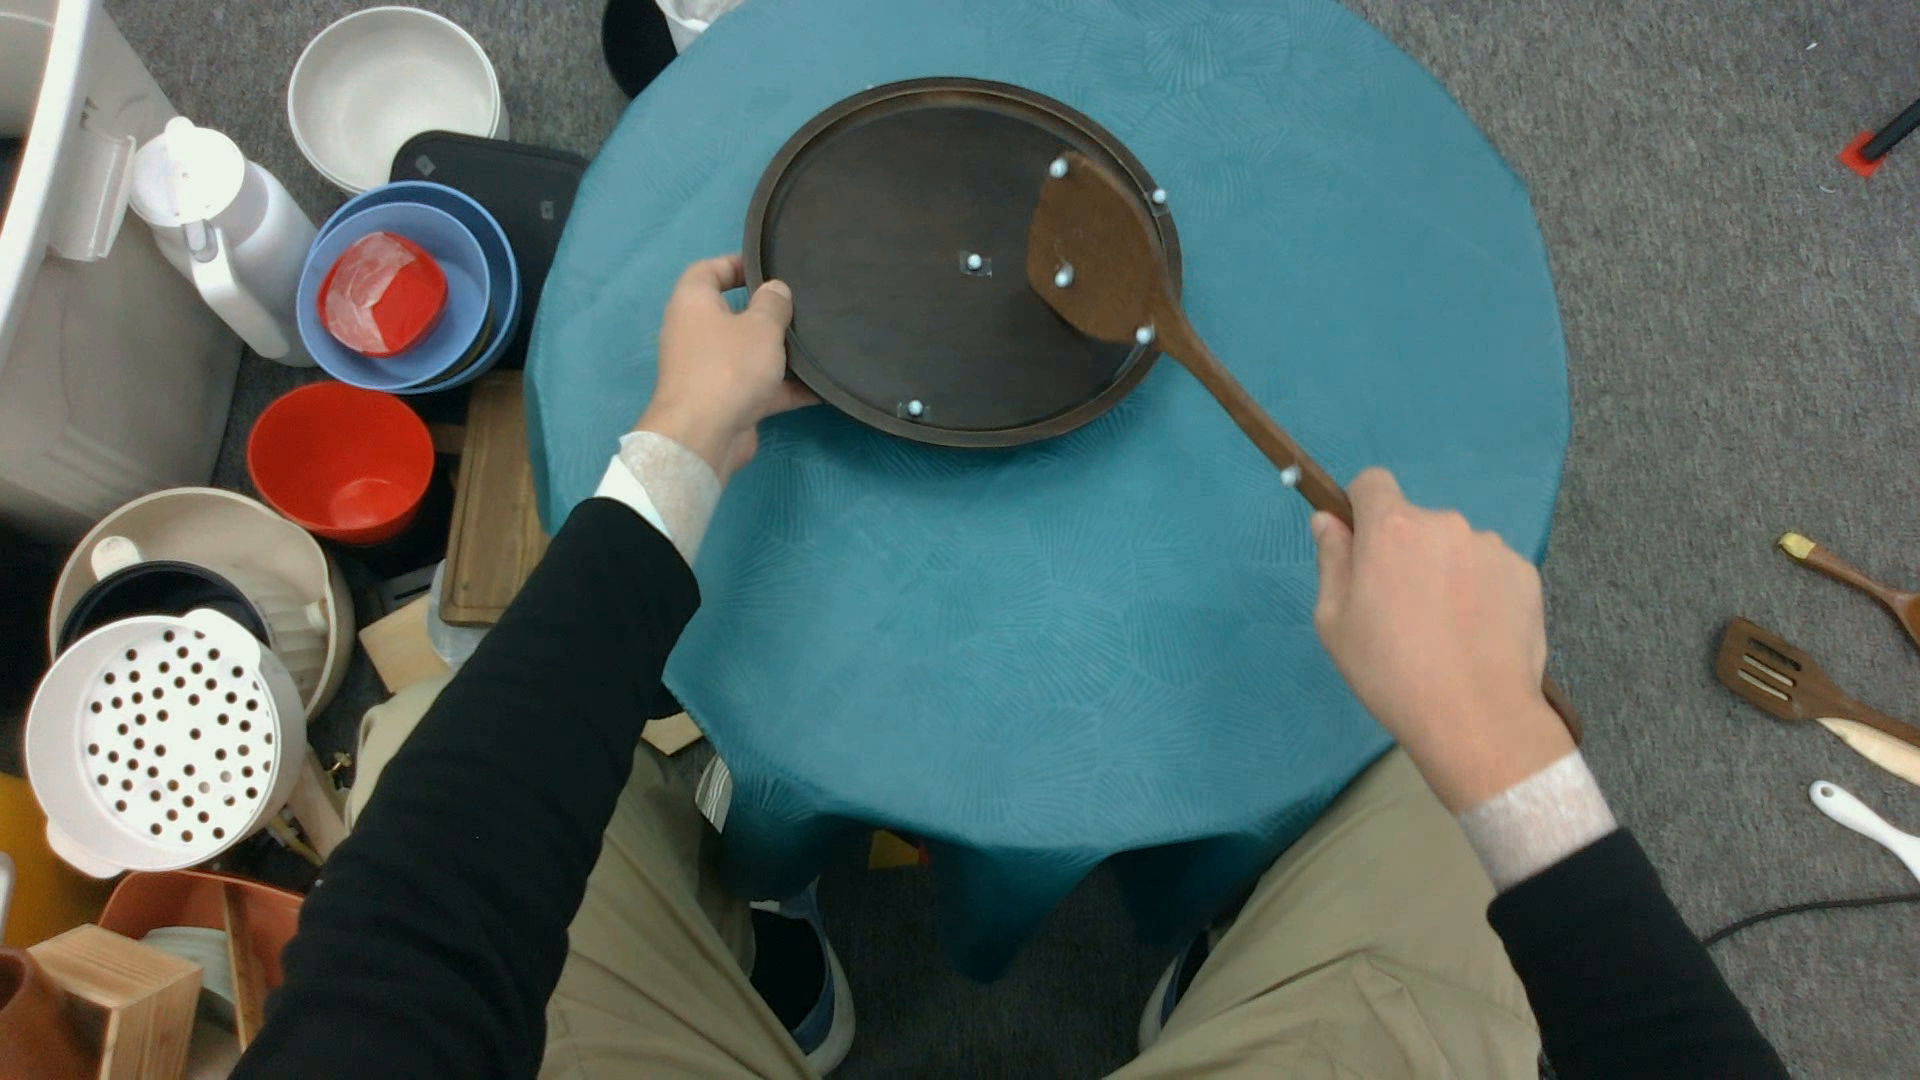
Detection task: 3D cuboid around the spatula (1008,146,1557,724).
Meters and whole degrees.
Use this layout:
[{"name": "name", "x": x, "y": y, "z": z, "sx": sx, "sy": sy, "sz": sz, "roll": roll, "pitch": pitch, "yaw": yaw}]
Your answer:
[{"name": "spatula", "x": 0.144, "y": -0.056, "z": 0.680, "sx": 0.016, "sy": 0.095, "sz": 0.386, "roll": -25, "pitch": 62, "yaw": -29}]

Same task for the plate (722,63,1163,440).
[{"name": "plate", "x": -0.009, "y": -0.169, "z": 0.791, "sx": 0.255, "sy": 0.029, "sz": 0.255, "roll": 3, "pitch": 66, "yaw": -7}]
